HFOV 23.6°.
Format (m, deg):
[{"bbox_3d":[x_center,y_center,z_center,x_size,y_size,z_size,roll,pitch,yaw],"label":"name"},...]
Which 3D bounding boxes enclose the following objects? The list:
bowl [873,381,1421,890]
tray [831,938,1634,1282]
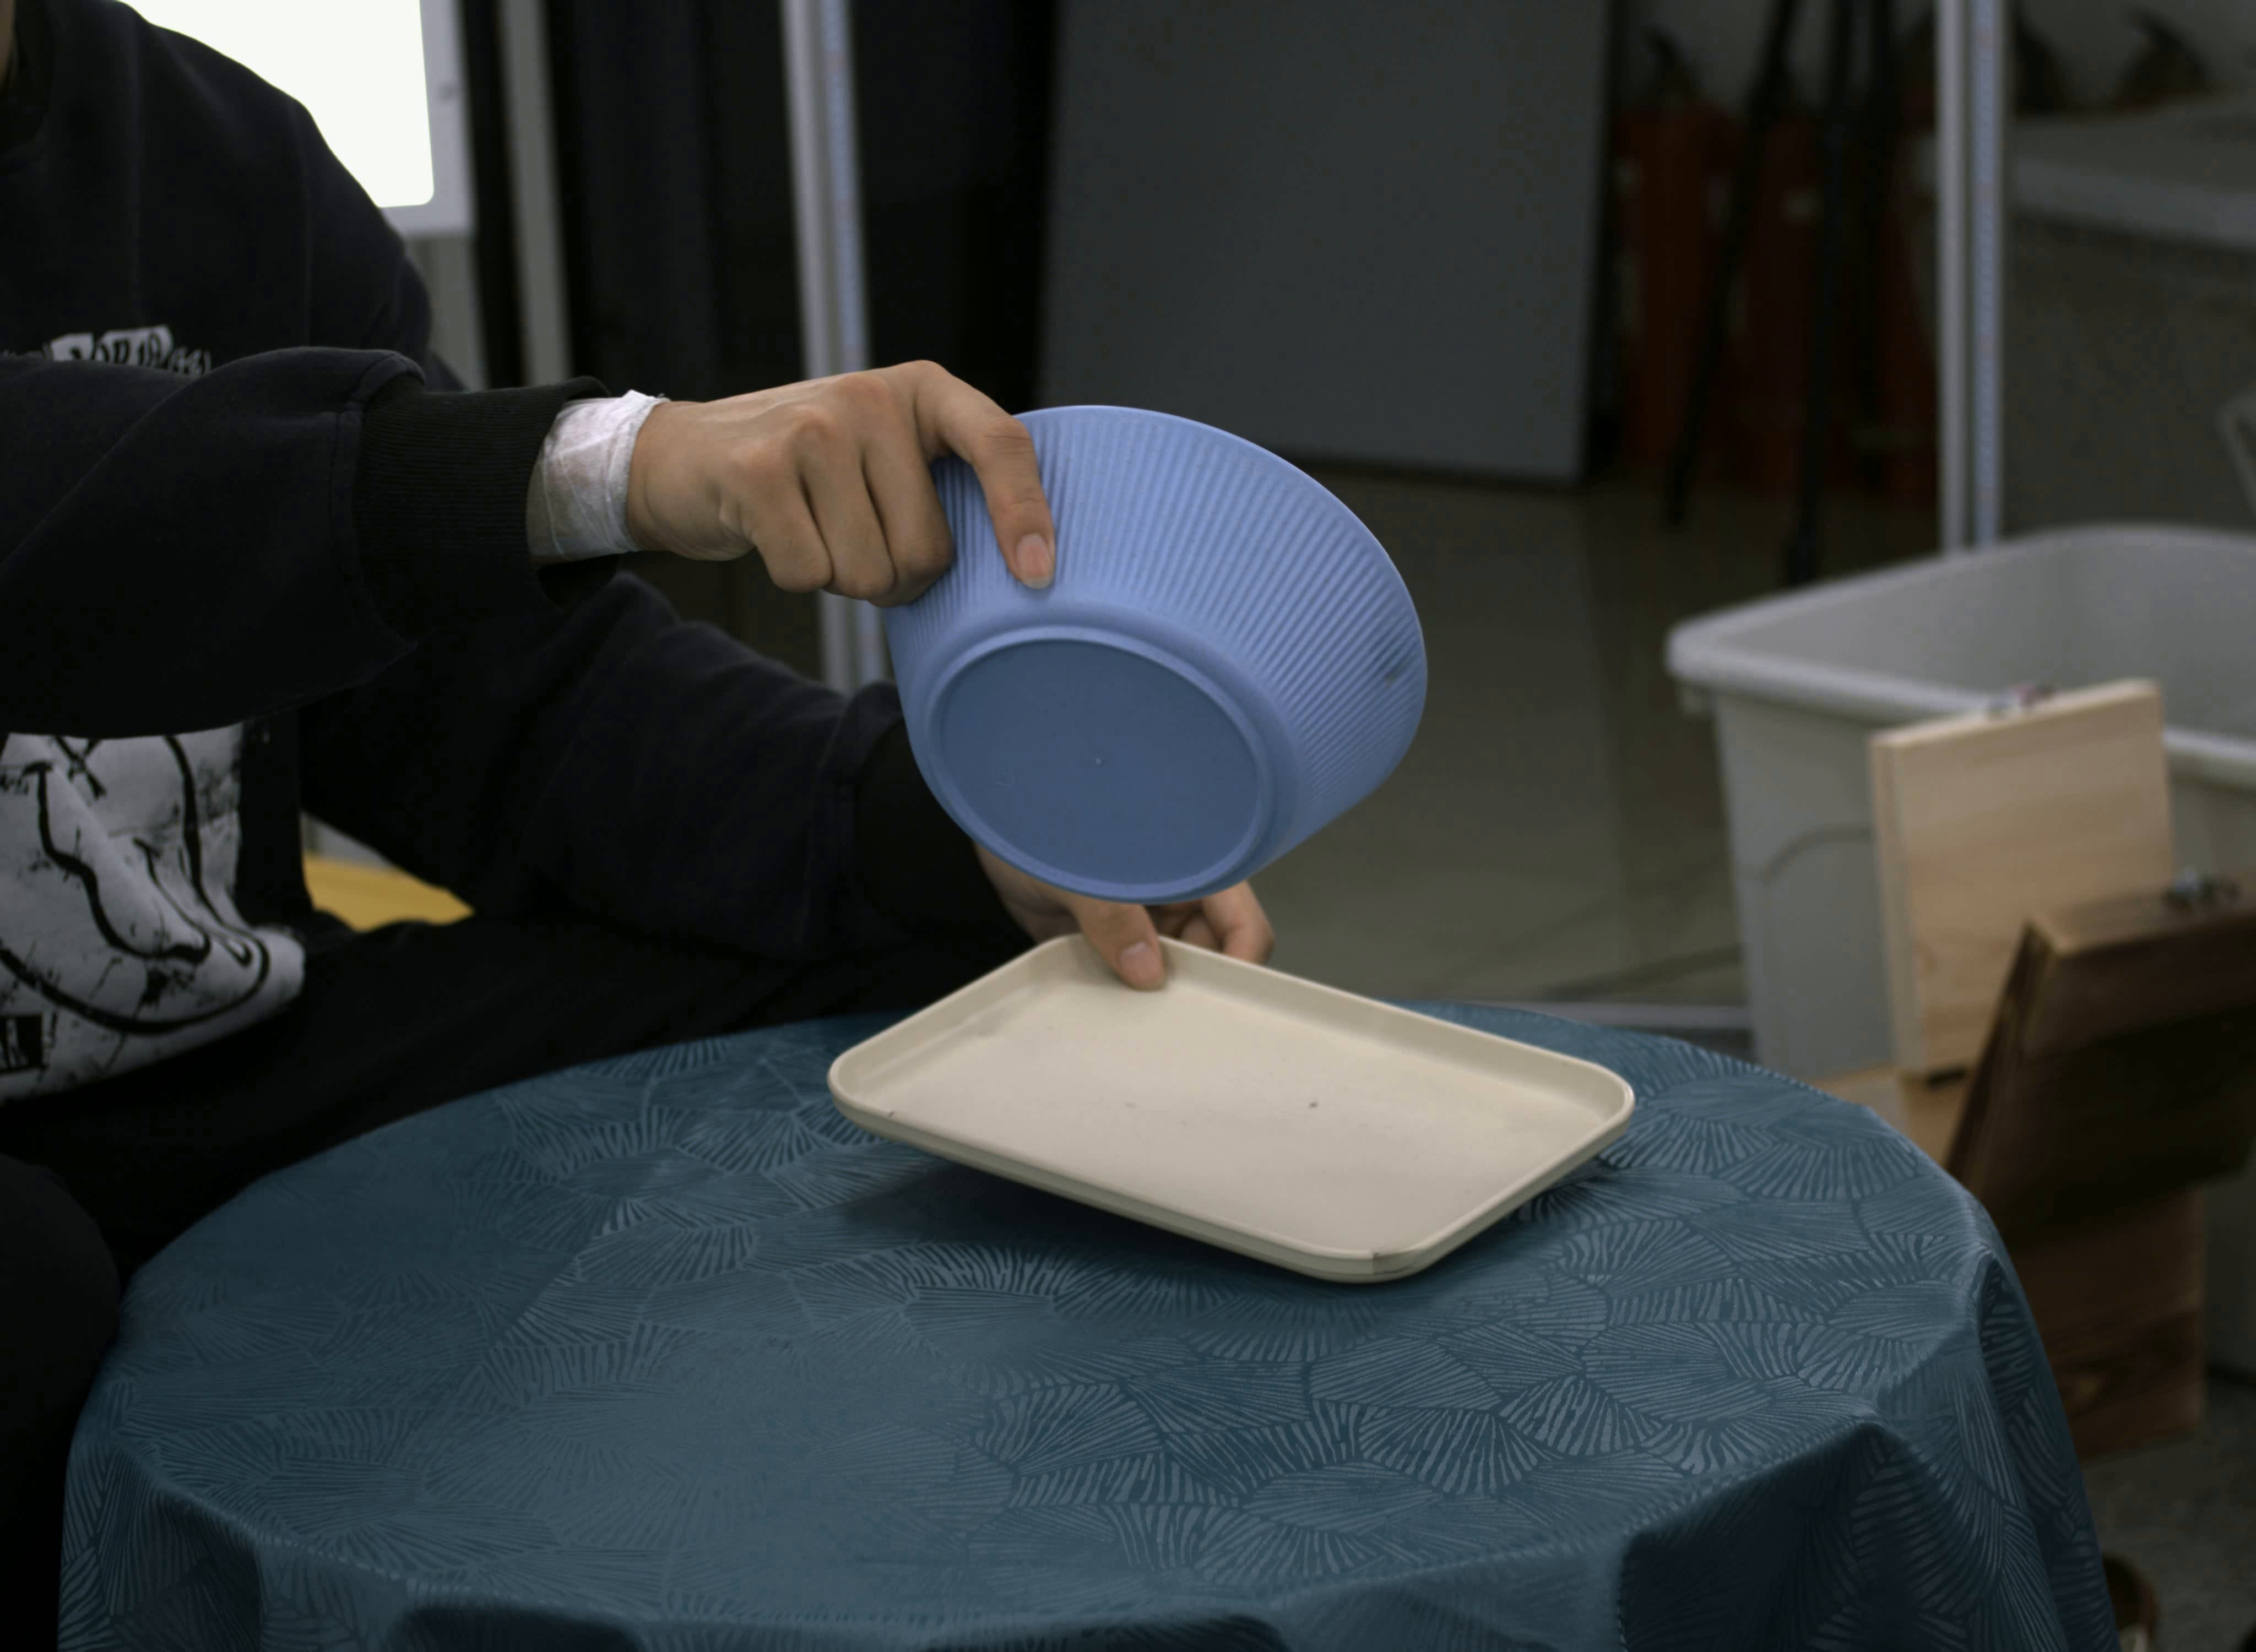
[{"bbox_3d":[-0.002,-0.045,1.634,0.176,0.176,0.070,2,42,19],"label":"bowl"},{"bbox_3d":[0.034,0.092,1.771,0.241,0.017,0.168,15,26,35],"label":"tray"}]
